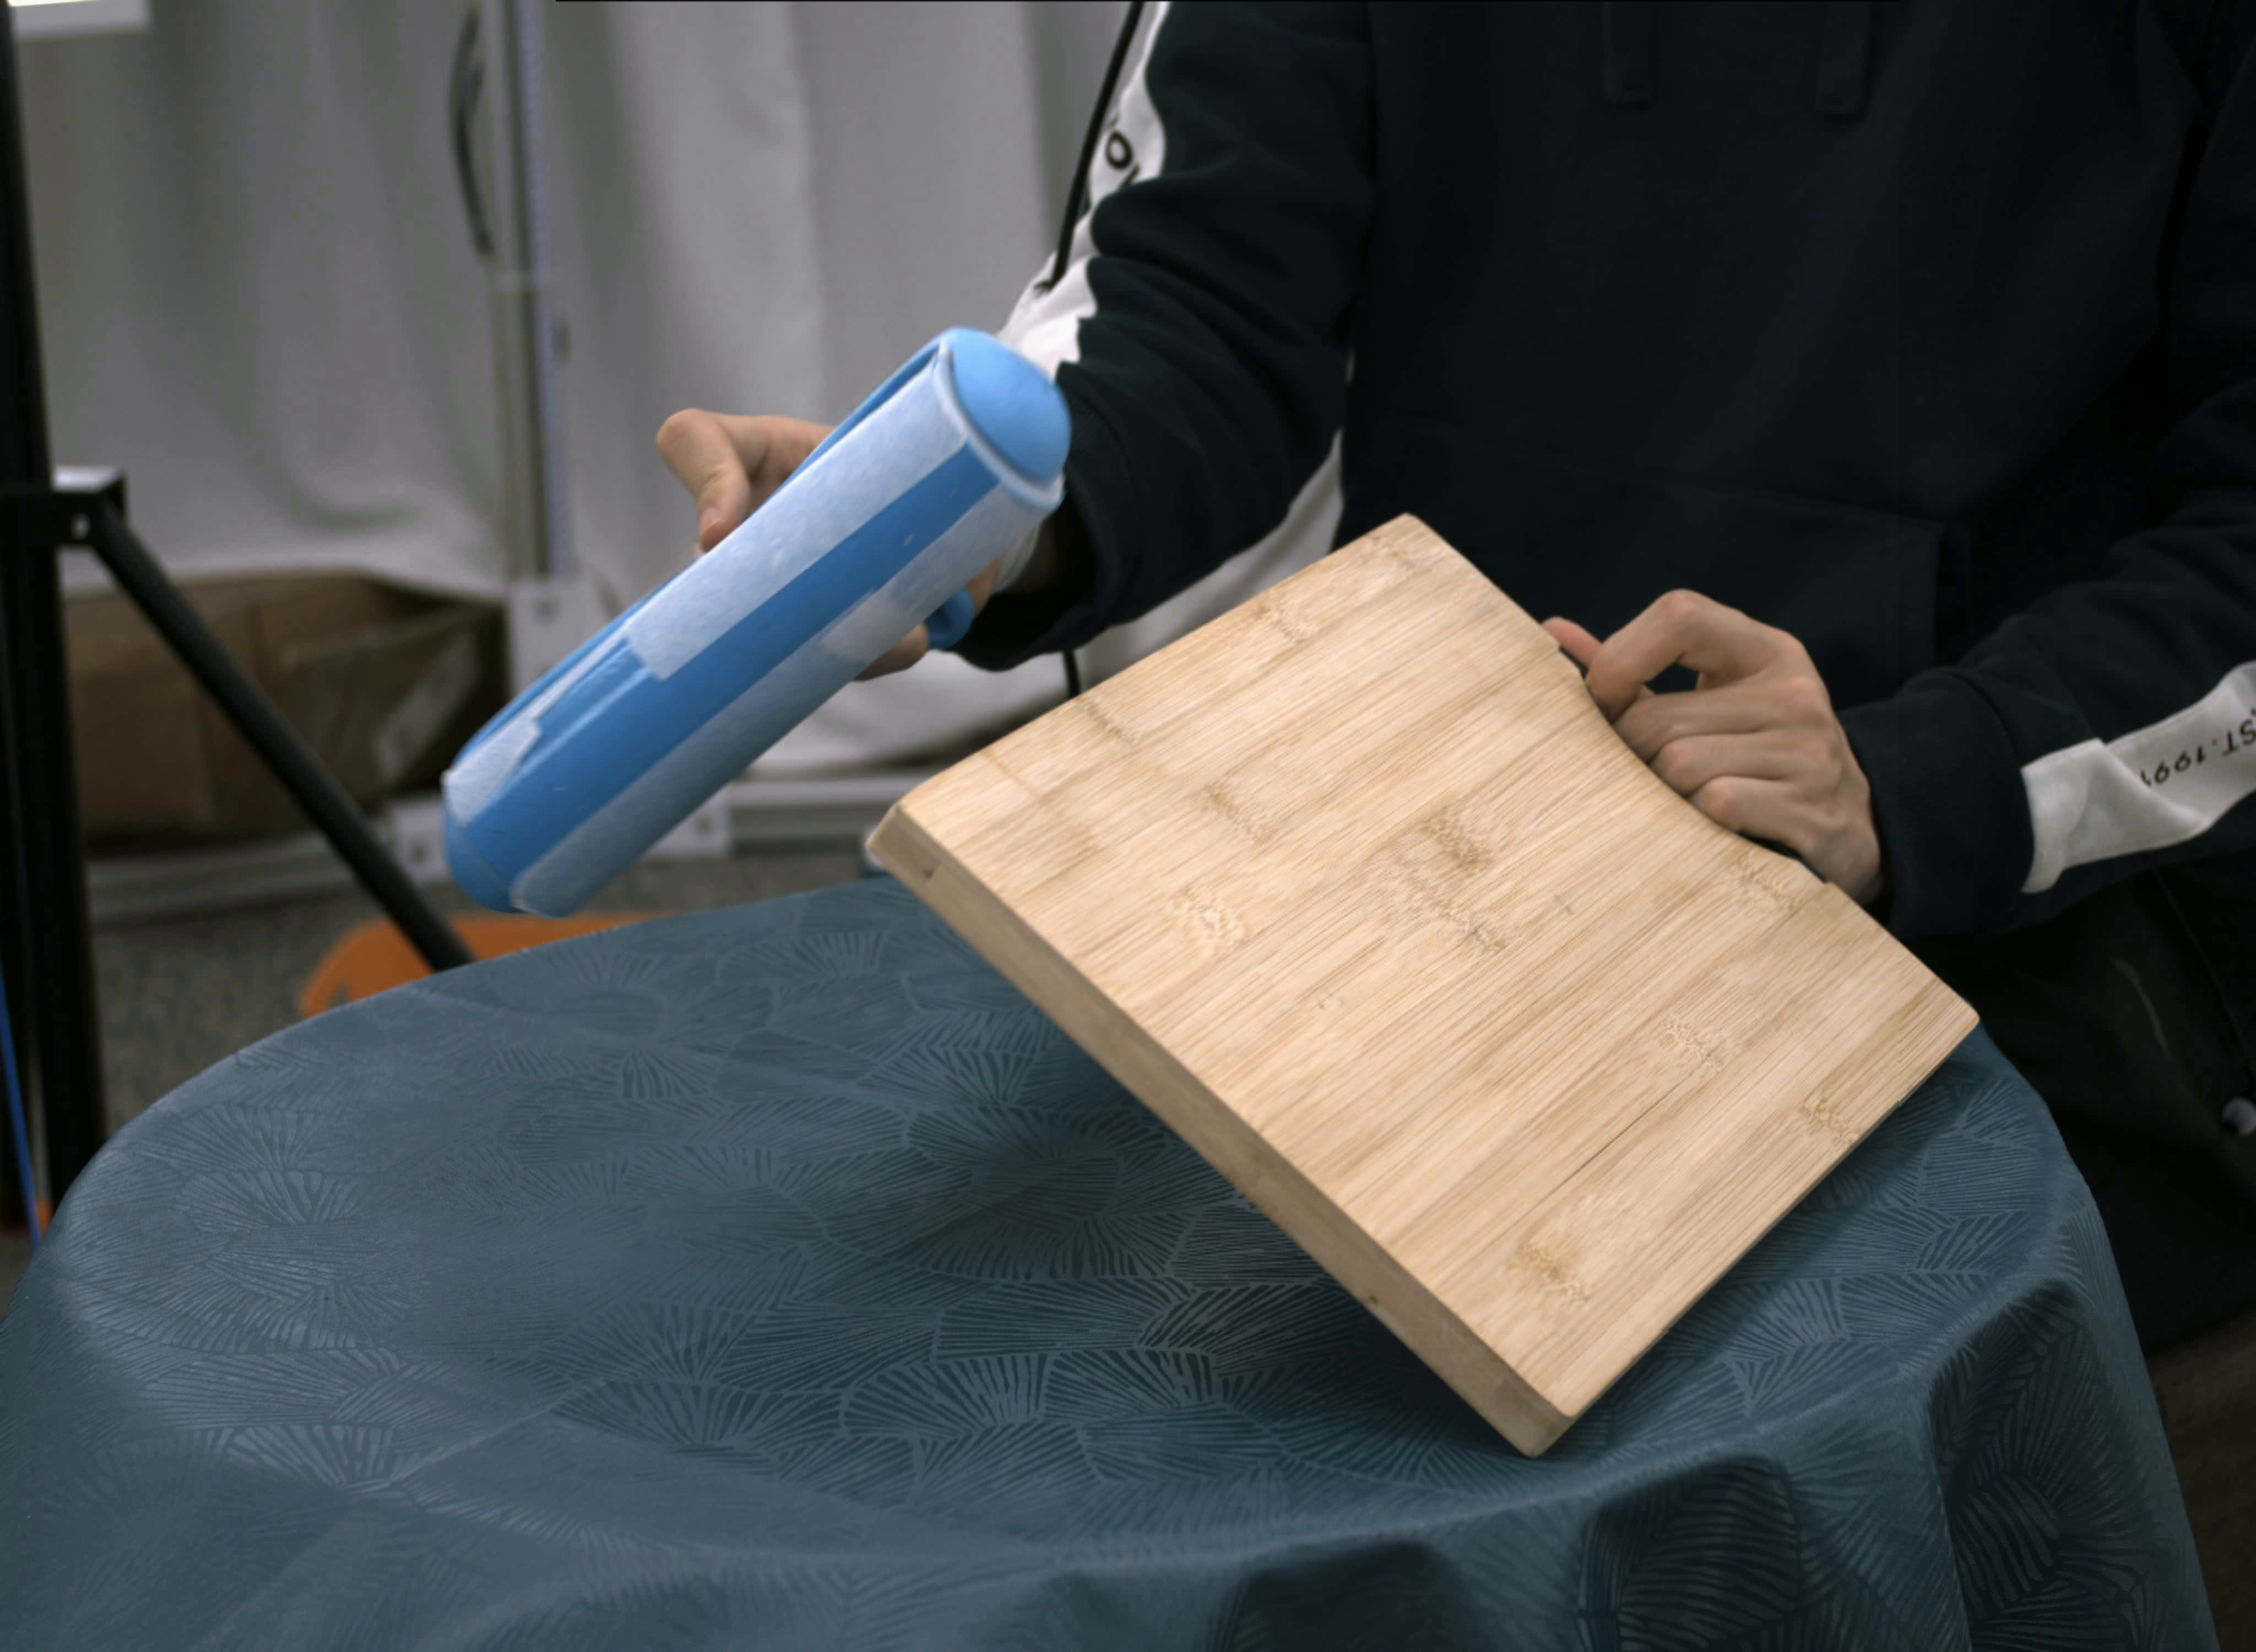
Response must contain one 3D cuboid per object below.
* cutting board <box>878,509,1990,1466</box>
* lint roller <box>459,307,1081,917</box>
[{"bbox_3d":[0.098,0.032,1.512,0.253,0.024,0.343,42,30,10],"label":"cutting board"},{"bbox_3d":[-0.090,-0.064,1.546,0.230,0.068,0.179,-42,-2,15],"label":"lint roller"}]
